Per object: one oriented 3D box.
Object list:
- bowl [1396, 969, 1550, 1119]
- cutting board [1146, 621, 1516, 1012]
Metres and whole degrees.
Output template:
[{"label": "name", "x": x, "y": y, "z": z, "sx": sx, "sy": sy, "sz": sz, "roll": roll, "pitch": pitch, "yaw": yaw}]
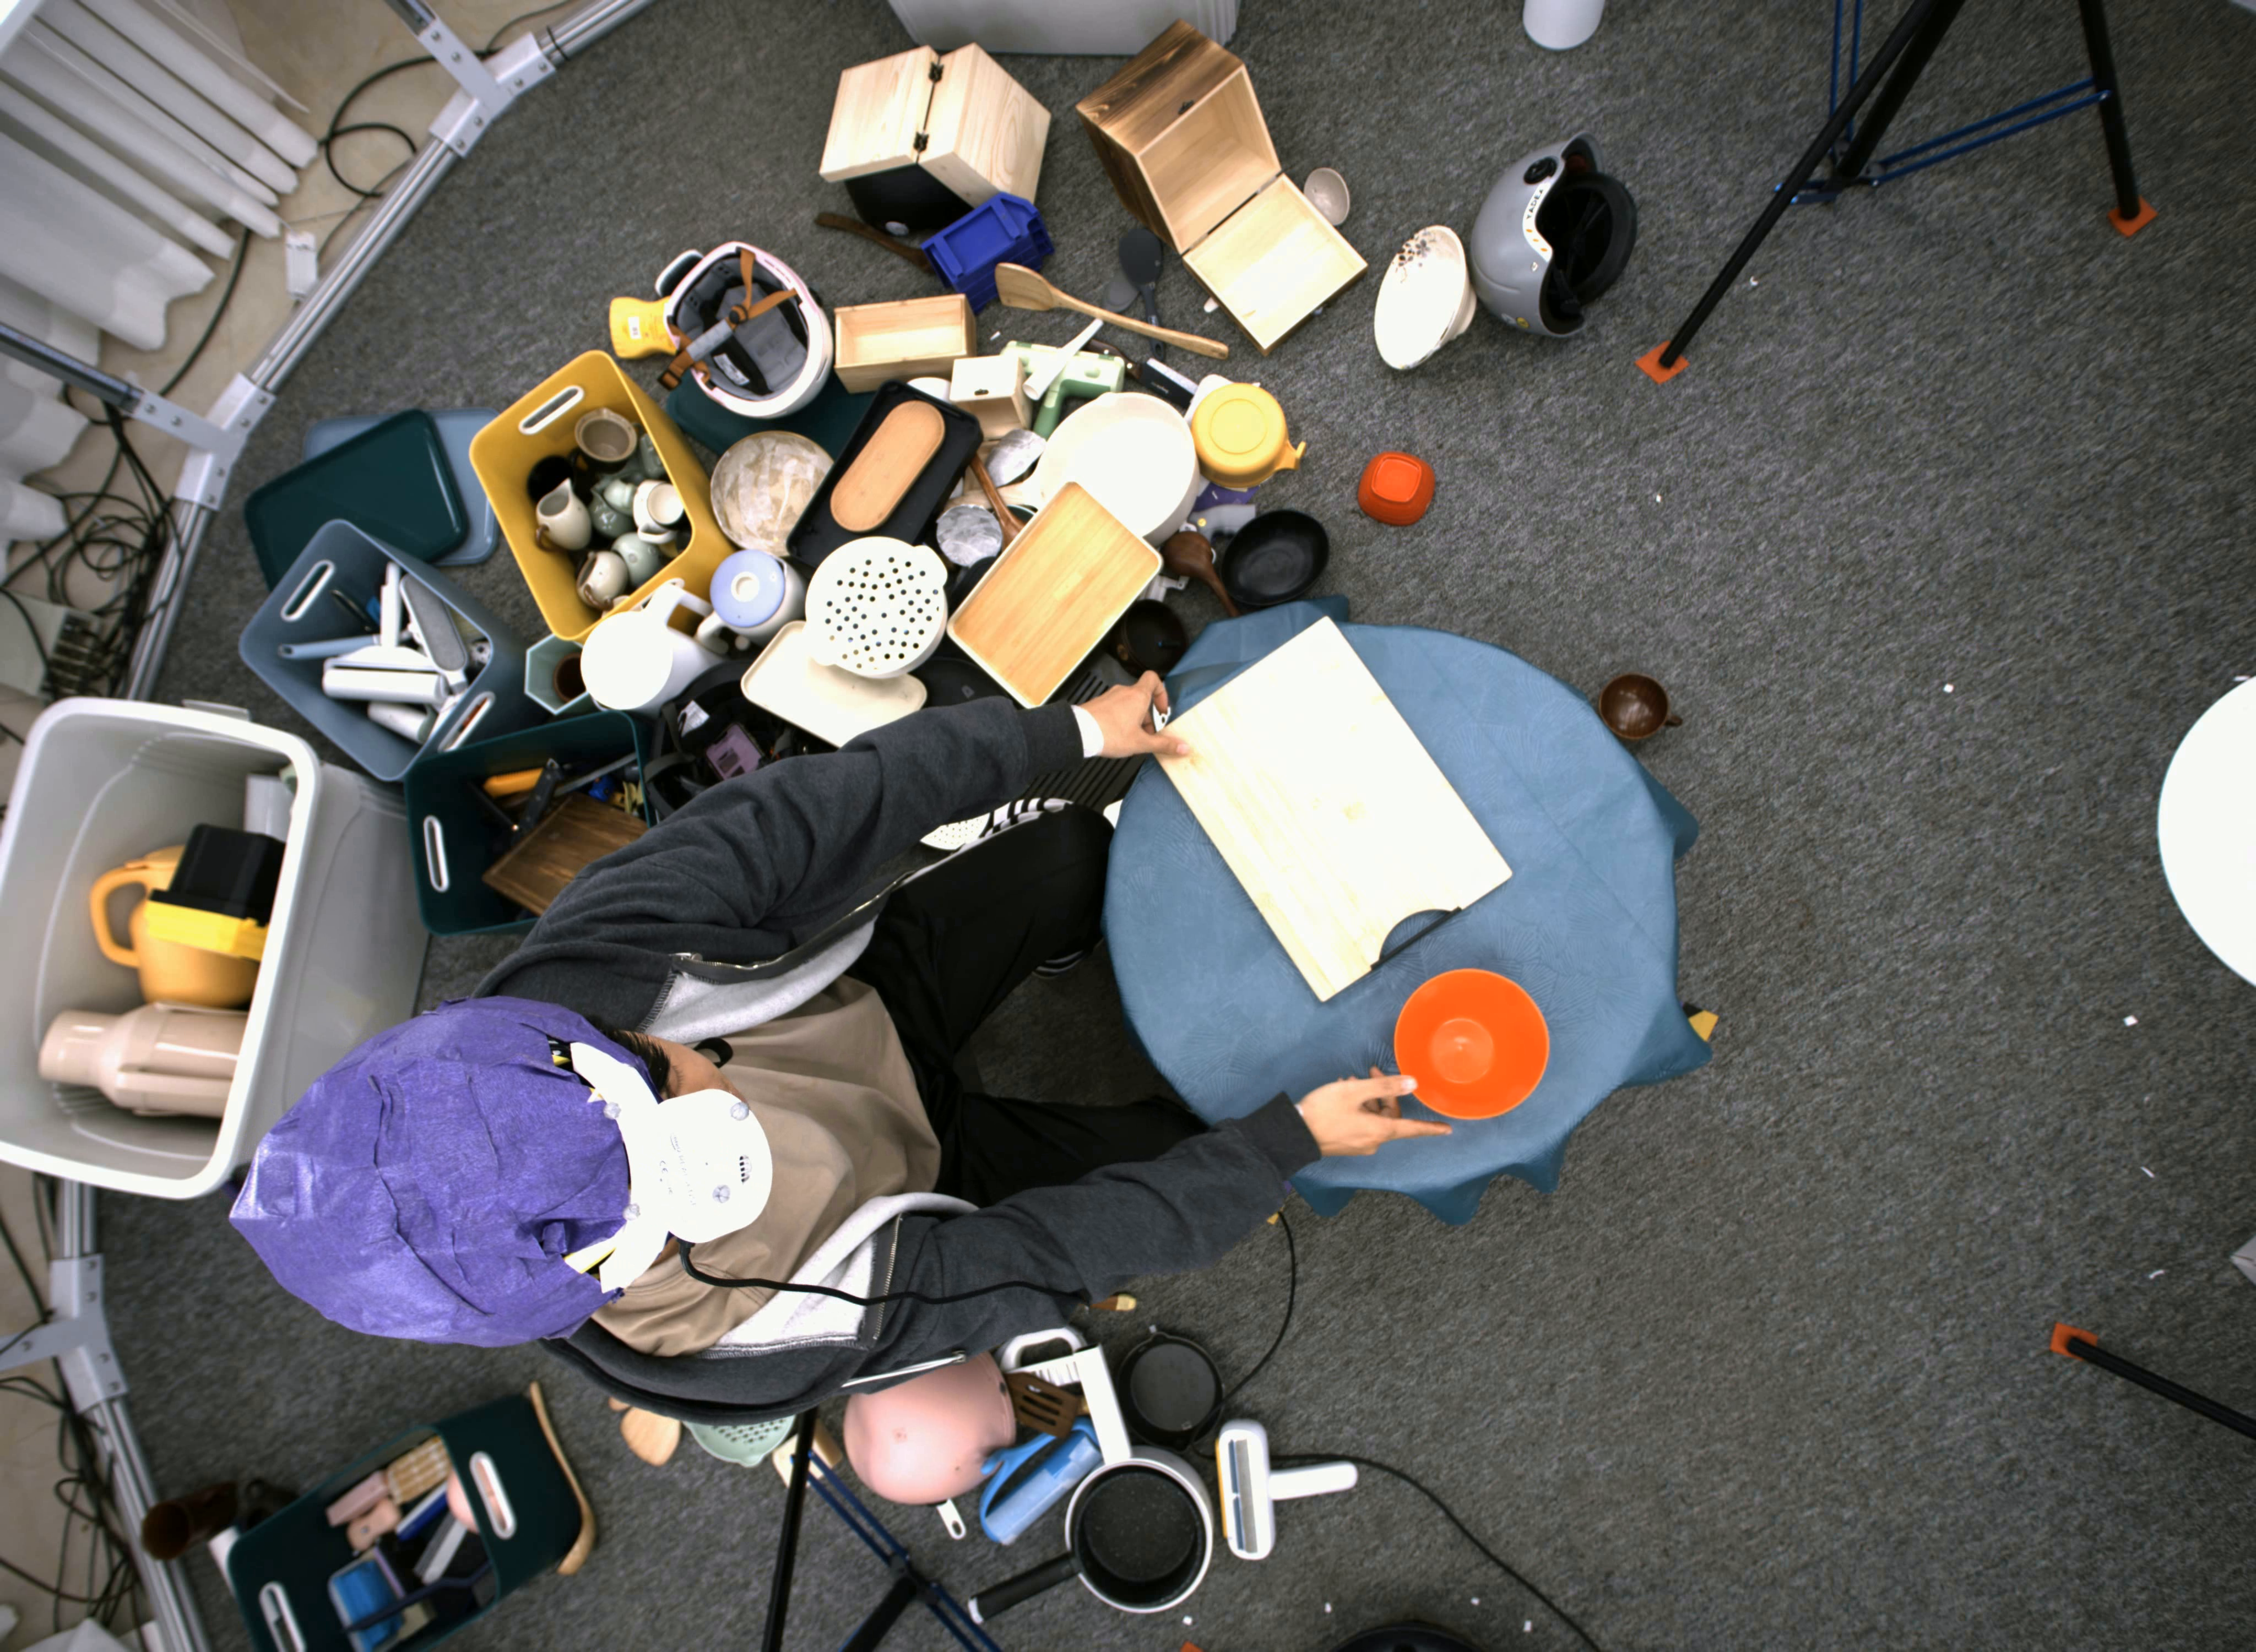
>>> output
[{"label": "bowl", "x": 0.342, "y": 0.216, "z": 1.386, "sx": 0.148, "sy": 0.105, "sz": 0.147, "roll": -1, "pitch": 86, "yaw": 8}, {"label": "cutting board", "x": 0.212, "y": -0.016, "z": 1.467, "sx": 0.252, "sy": 0.023, "sz": 0.346, "roll": -35, "pitch": 81, "yaw": 7}]
